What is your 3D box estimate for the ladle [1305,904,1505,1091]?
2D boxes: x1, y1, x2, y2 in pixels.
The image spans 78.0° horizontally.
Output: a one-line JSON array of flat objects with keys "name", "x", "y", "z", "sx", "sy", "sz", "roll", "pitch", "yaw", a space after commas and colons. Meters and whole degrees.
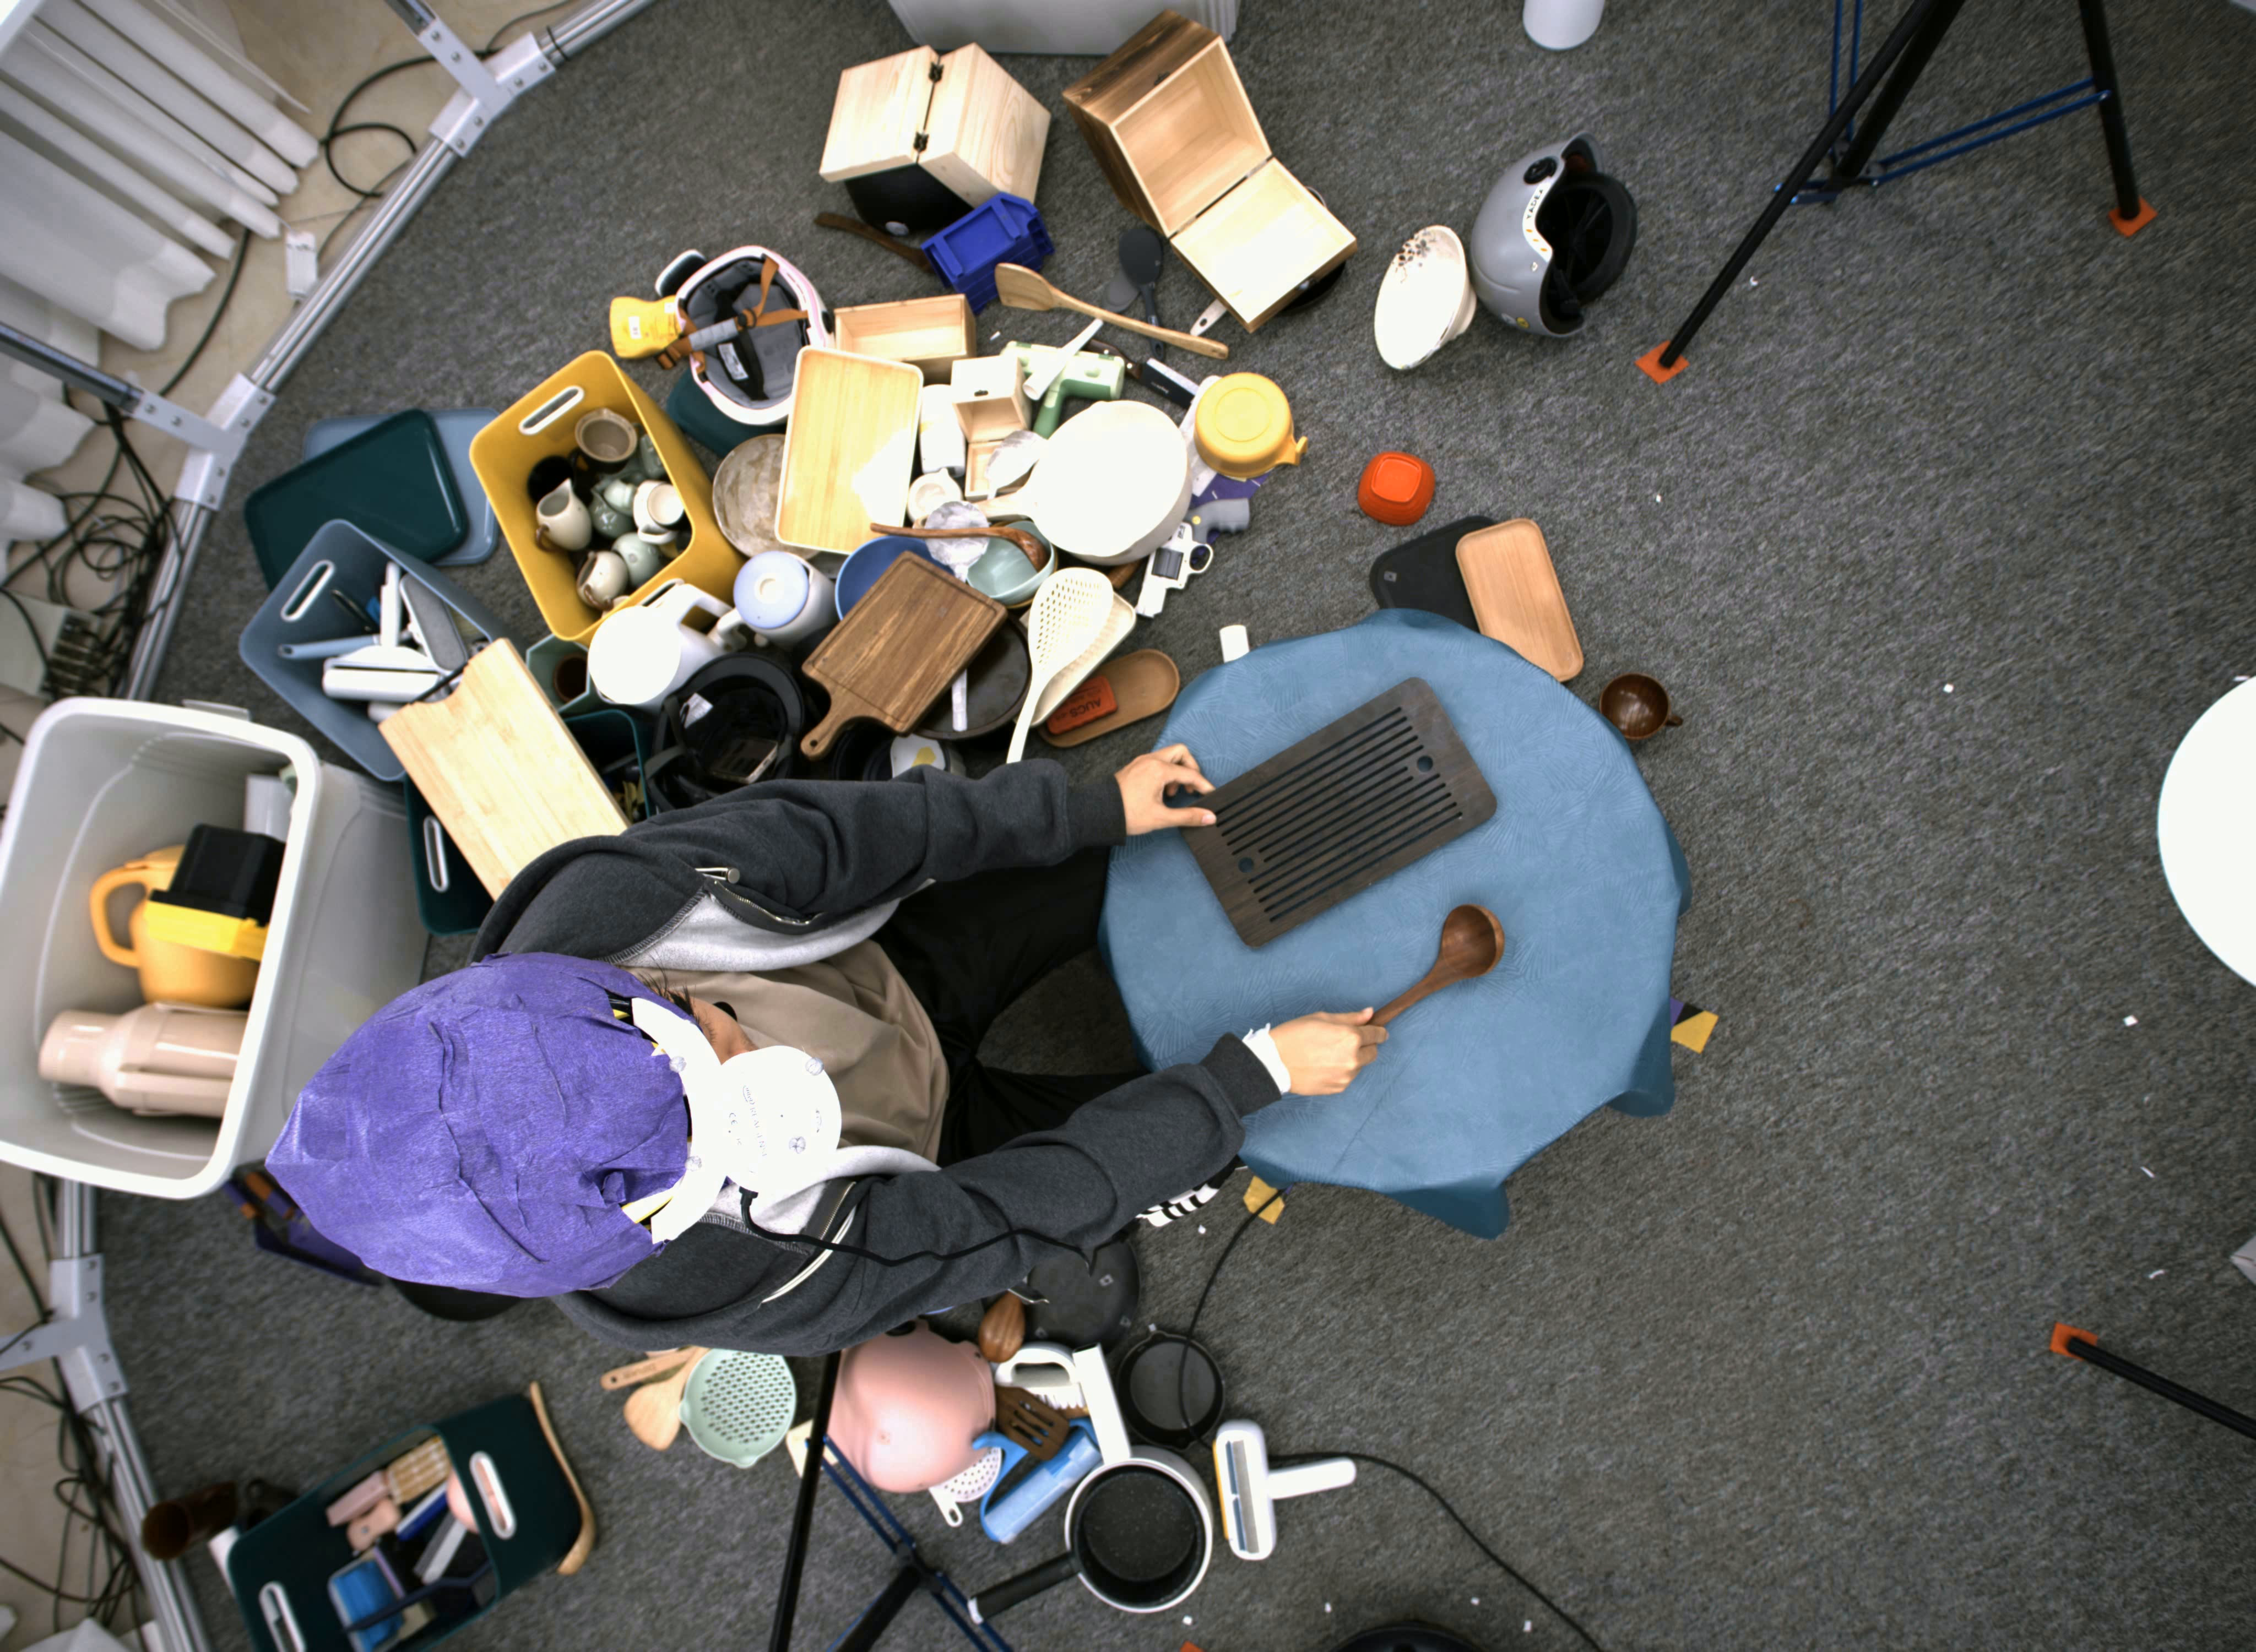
[{"name": "ladle", "x": 0.277, "y": 0.177, "z": 1.418, "sx": 0.261, "sy": 0.066, "sz": 0.075, "roll": -39, "pitch": 48, "yaw": 4}]

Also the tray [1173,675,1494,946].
[{"name": "tray", "x": 0.215, "y": -0.017, "z": 1.460, "sx": 0.307, "sy": 0.018, "sz": 0.169, "roll": -30, "pitch": 86, "yaw": 8}]
